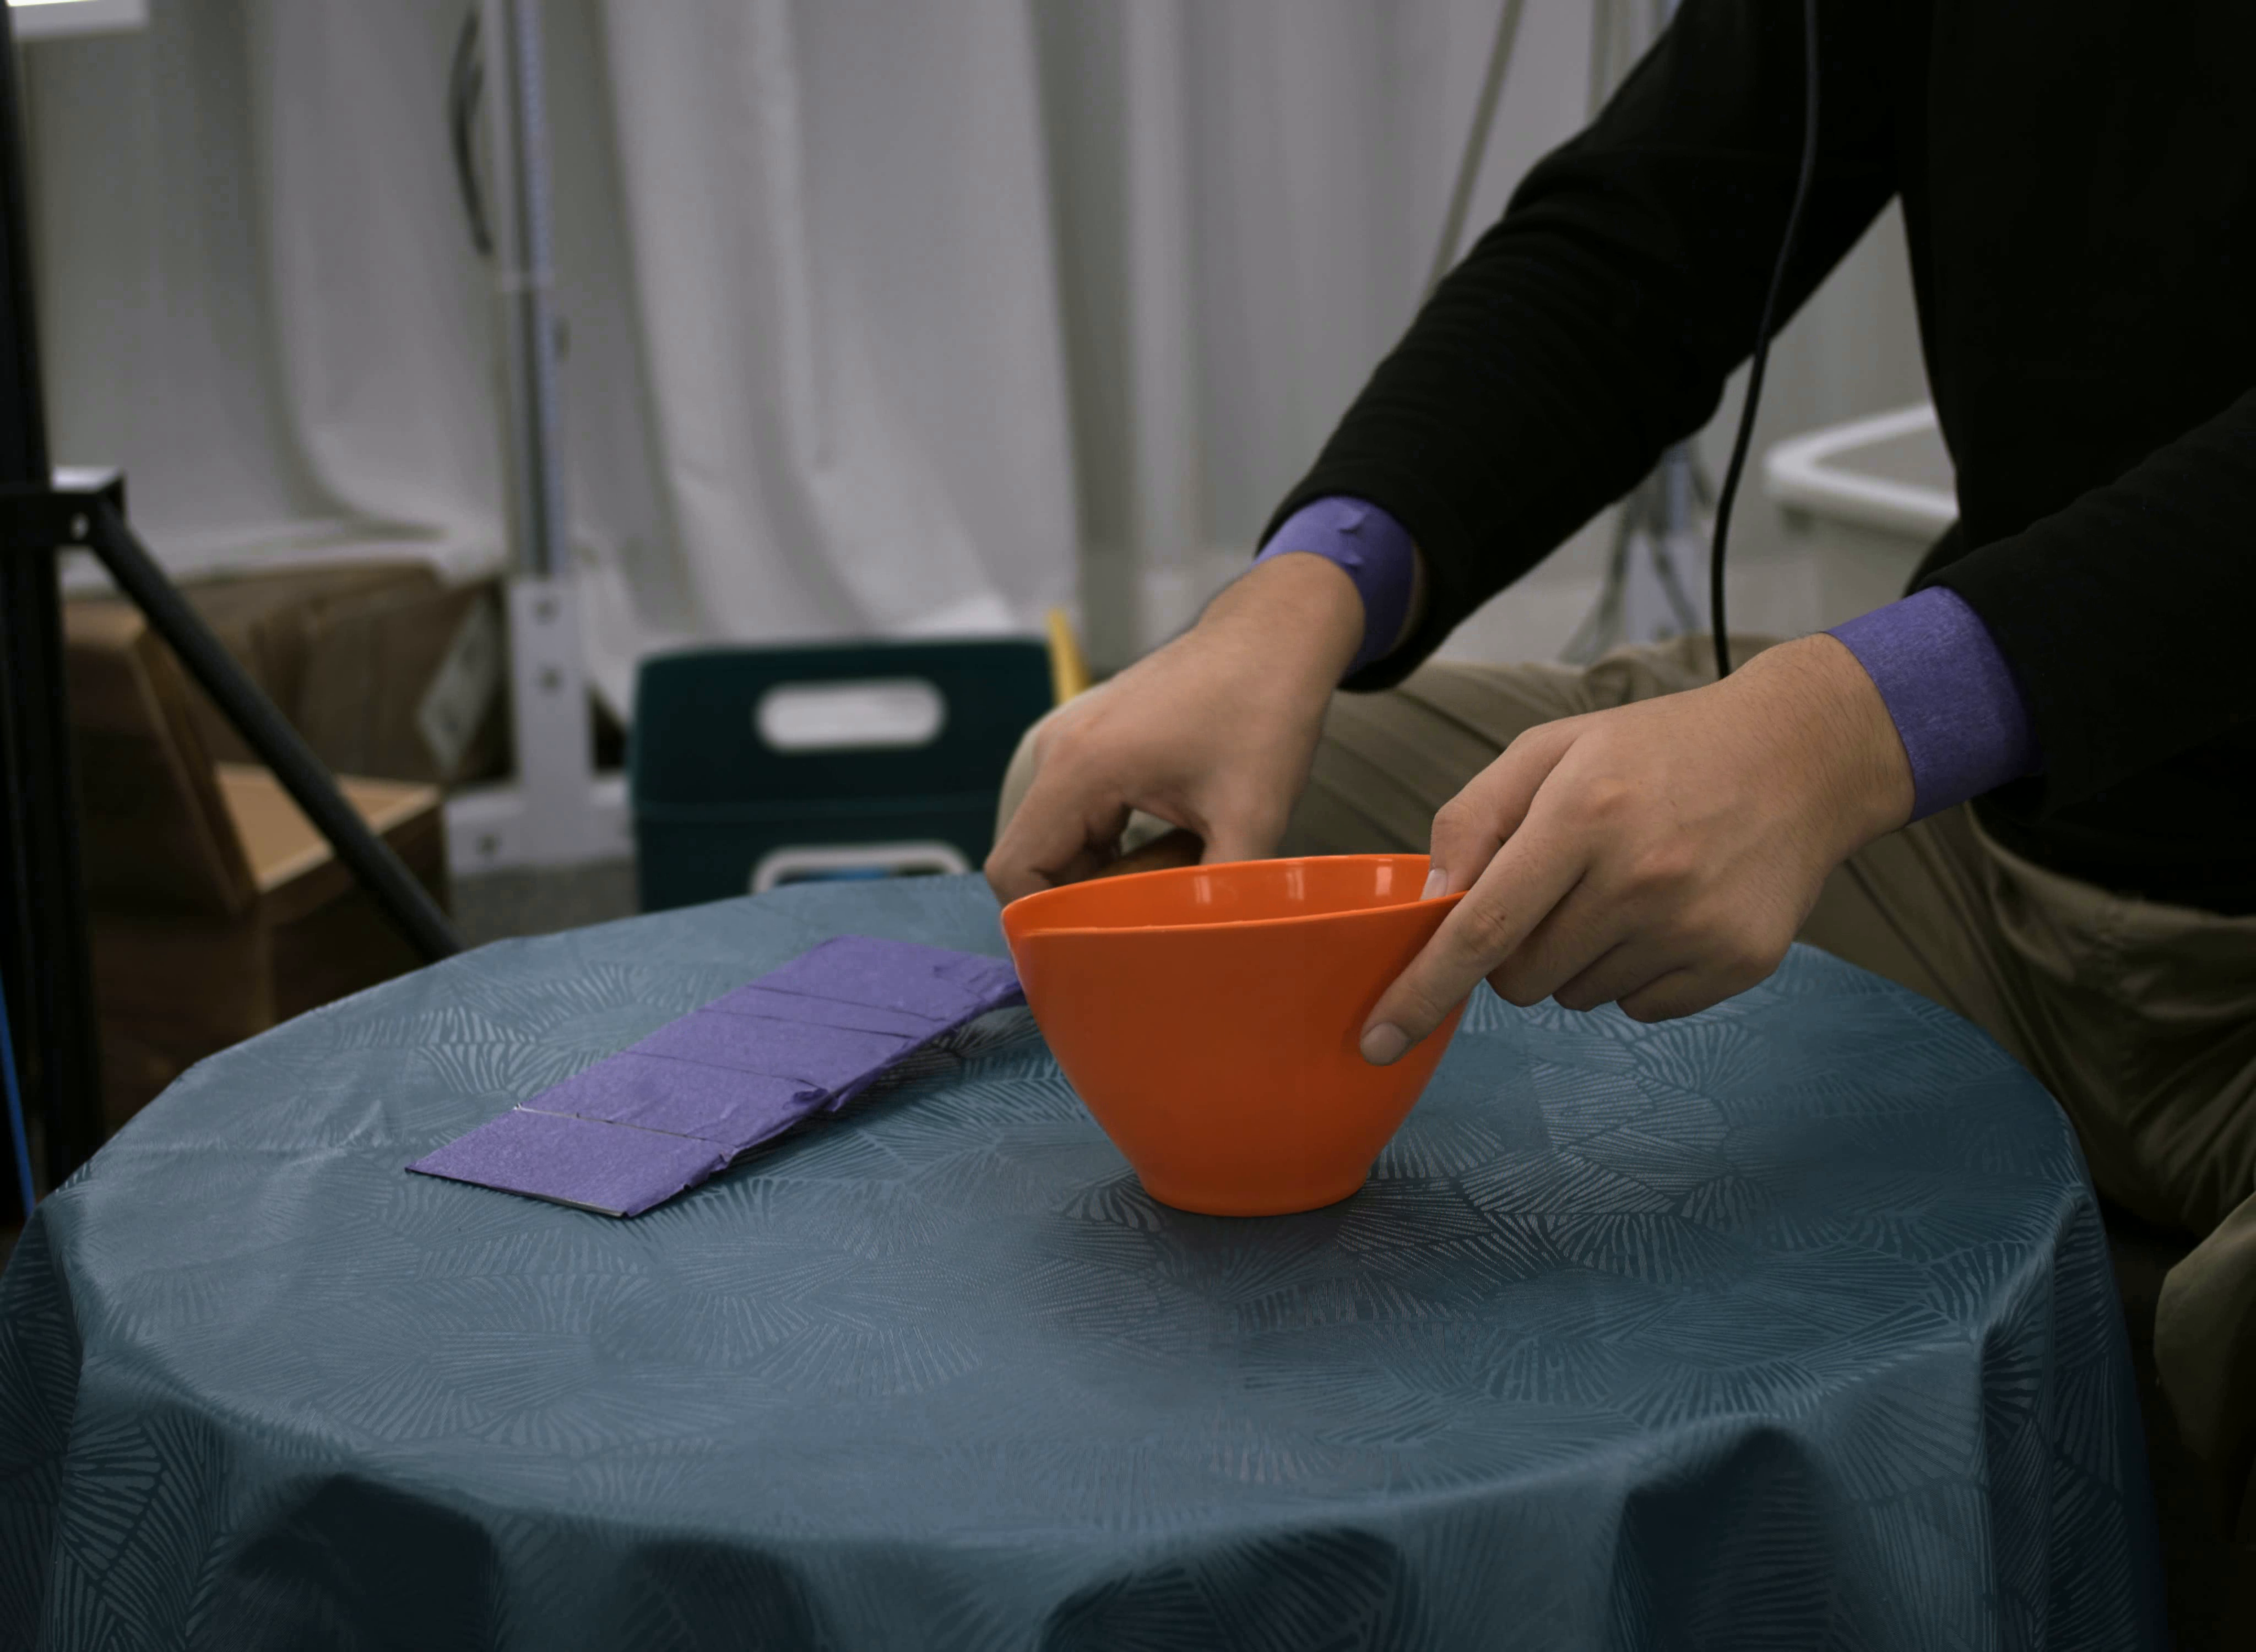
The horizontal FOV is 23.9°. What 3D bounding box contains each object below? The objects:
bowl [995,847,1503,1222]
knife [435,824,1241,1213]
[{"bbox_3d":[0.037,0.059,1.537,0.147,0.104,0.149,-5,15,0],"label":"bowl"},{"bbox_3d":[-0.088,0.055,1.684,0.106,0.032,0.309,10,23,37],"label":"knife"}]
